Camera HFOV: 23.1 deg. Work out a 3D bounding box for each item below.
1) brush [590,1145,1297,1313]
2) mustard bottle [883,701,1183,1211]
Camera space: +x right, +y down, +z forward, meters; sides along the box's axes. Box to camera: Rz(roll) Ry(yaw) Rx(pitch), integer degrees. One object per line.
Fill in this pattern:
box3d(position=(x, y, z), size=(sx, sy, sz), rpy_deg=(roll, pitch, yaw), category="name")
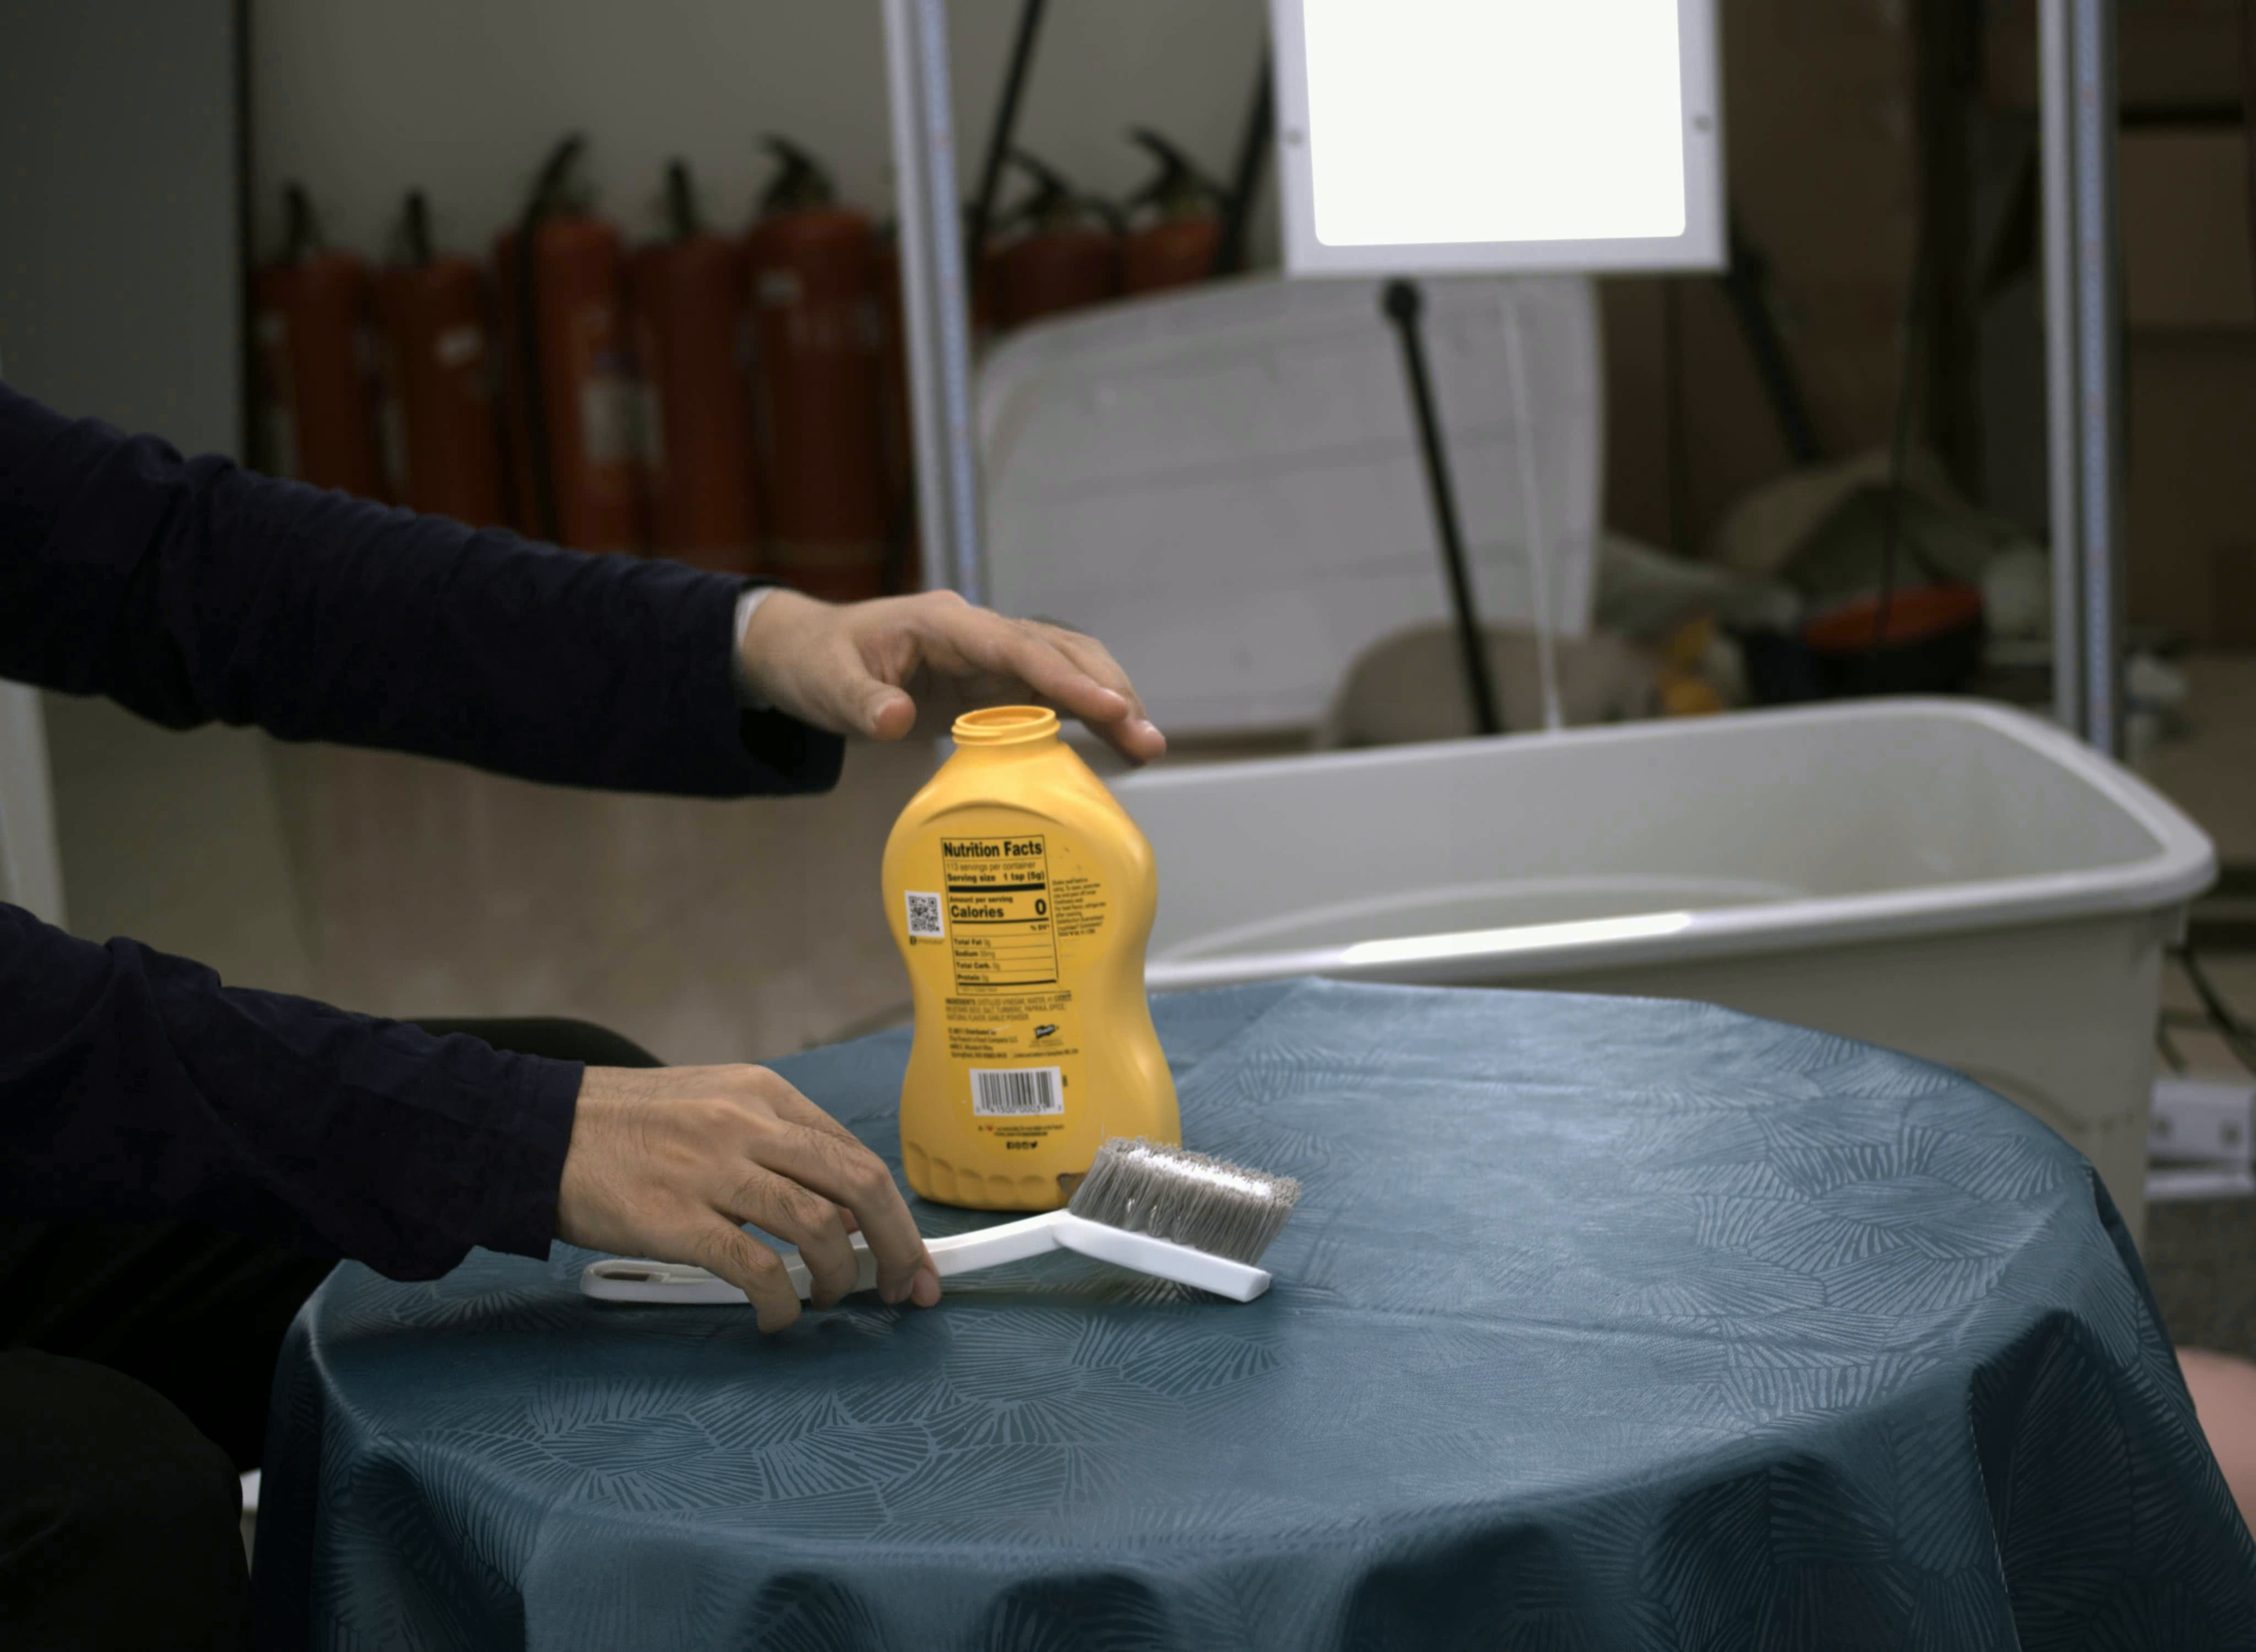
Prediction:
box3d(position=(-0.064, 0.130, 1.808), size=(0.246, 0.050, 0.034), rpy_deg=(0, 19, 18), category="brush")
box3d(position=(-0.035, 0.044, 1.888), size=(0.099, 0.172, 0.058), rpy_deg=(-3, 11, 17), category="mustard bottle")
